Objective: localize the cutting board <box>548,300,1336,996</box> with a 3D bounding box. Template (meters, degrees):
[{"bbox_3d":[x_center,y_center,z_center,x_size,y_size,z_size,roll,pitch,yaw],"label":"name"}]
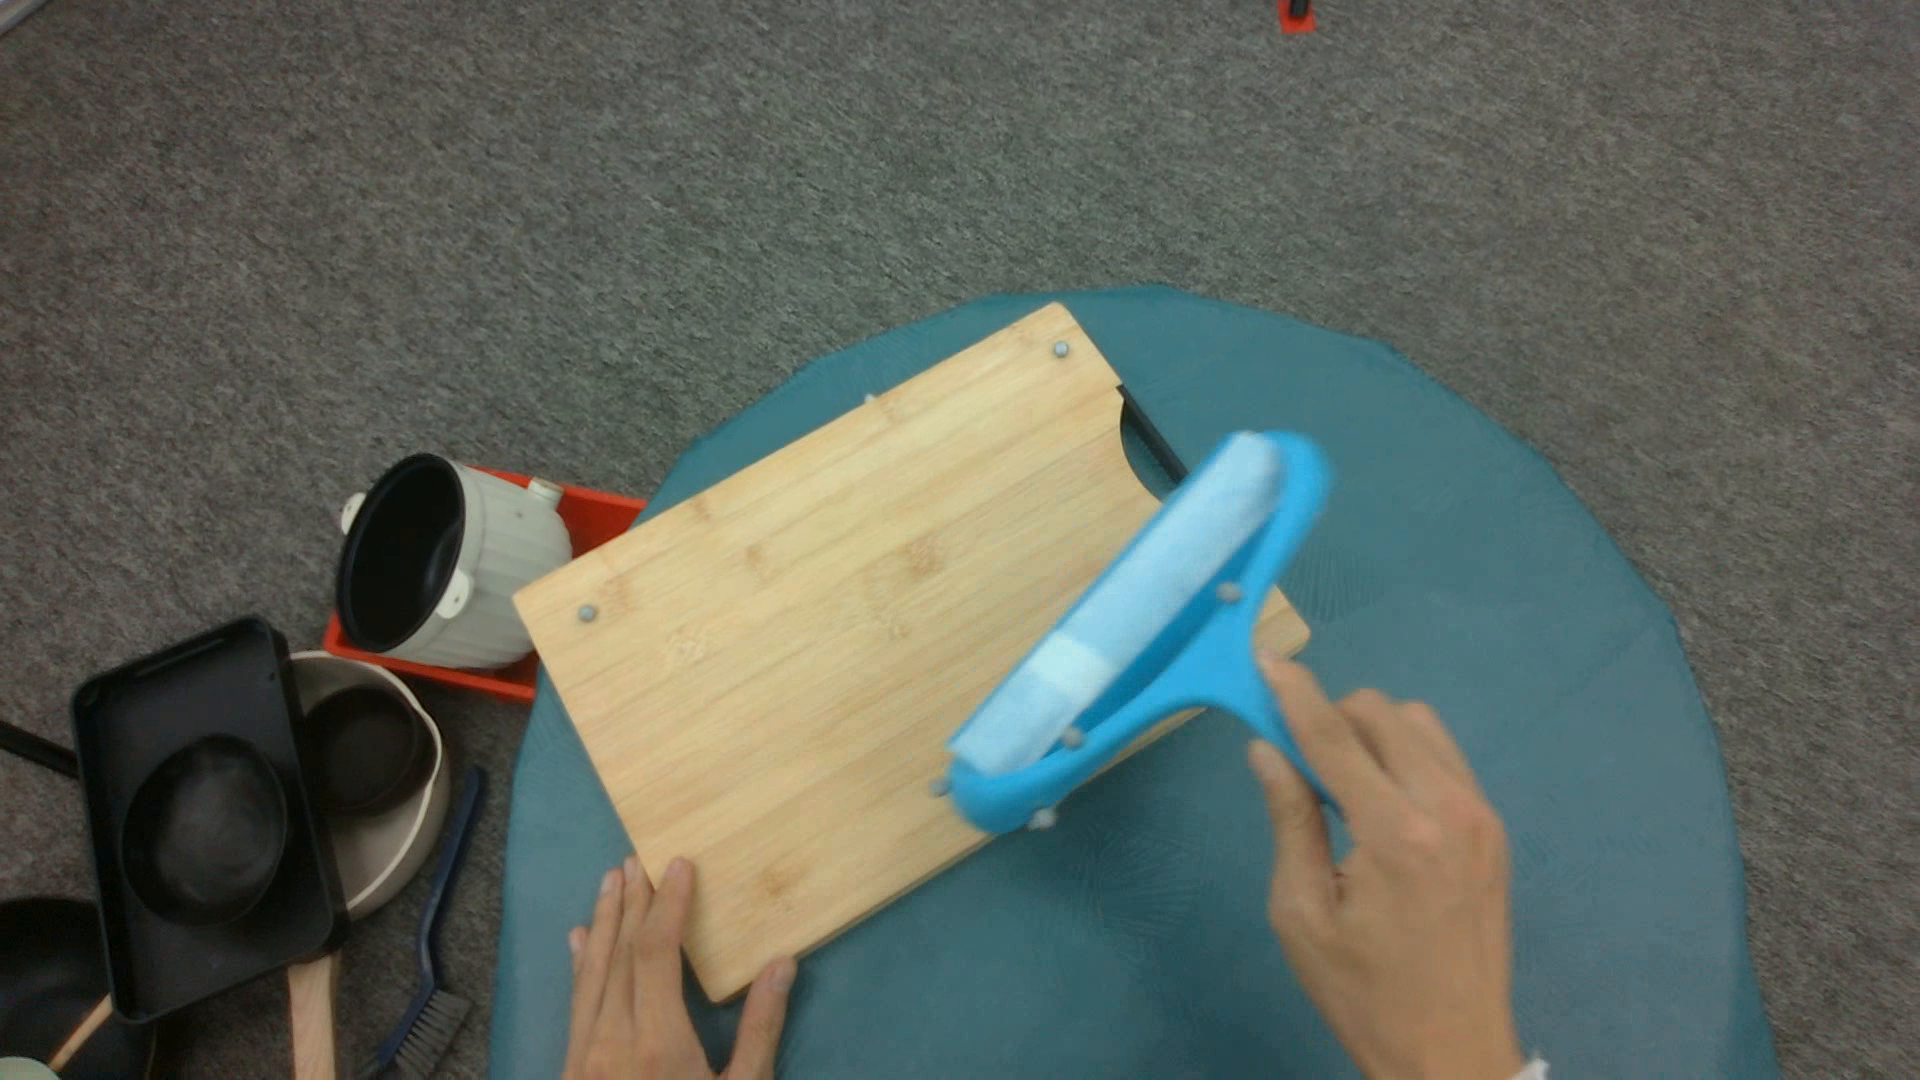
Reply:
[{"bbox_3d":[-0.017,0.041,0.728,0.349,0.023,0.251,-30,68,-9],"label":"cutting board"}]

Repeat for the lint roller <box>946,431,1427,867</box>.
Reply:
[{"bbox_3d":[0.114,0.064,0.571,0.229,0.068,0.180,-47,47,-9],"label":"lint roller"}]
